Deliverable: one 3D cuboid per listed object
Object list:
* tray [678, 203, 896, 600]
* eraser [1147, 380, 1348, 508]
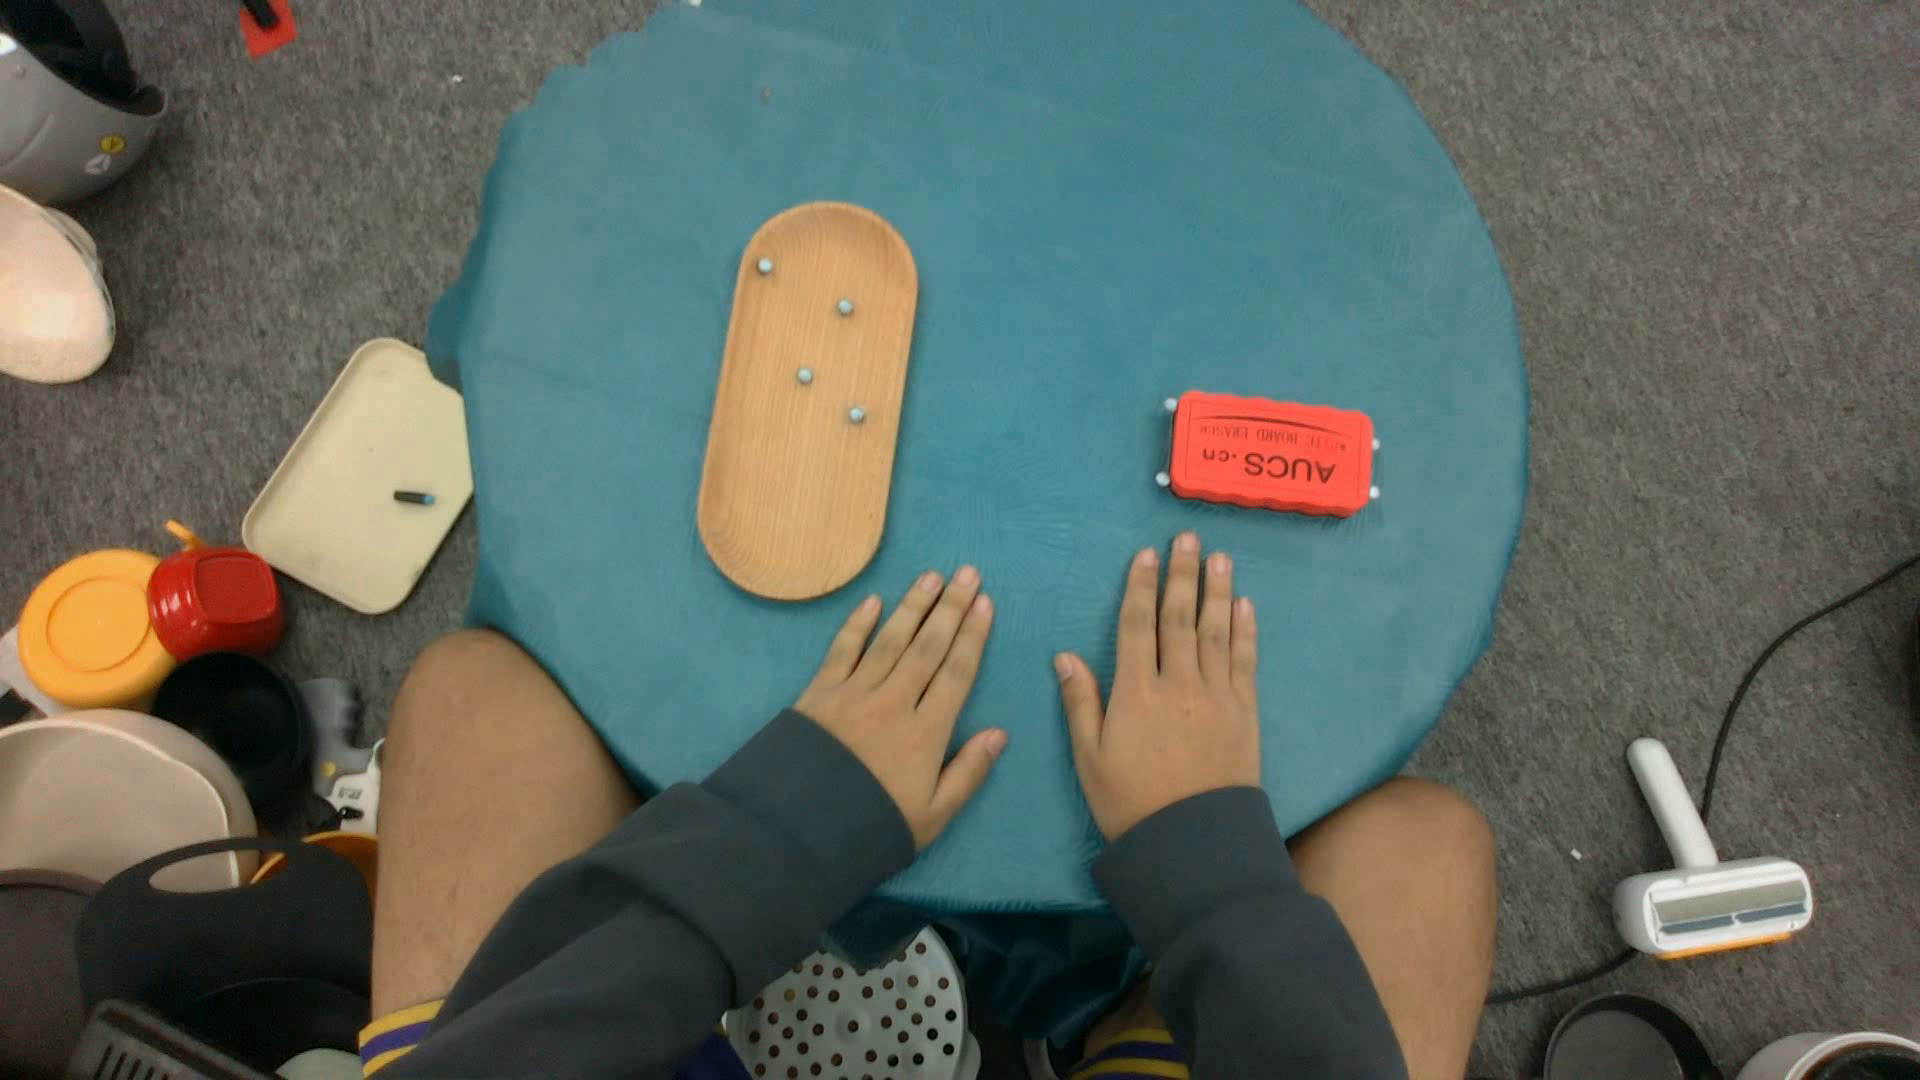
[{"bbox_3d":[-0.093,-0.079,0.756,0.102,0.020,0.232,6,75,-2],"label":"tray"},{"bbox_3d":[0.160,-0.053,0.764,0.108,0.023,0.059,8,66,-2],"label":"eraser"}]
